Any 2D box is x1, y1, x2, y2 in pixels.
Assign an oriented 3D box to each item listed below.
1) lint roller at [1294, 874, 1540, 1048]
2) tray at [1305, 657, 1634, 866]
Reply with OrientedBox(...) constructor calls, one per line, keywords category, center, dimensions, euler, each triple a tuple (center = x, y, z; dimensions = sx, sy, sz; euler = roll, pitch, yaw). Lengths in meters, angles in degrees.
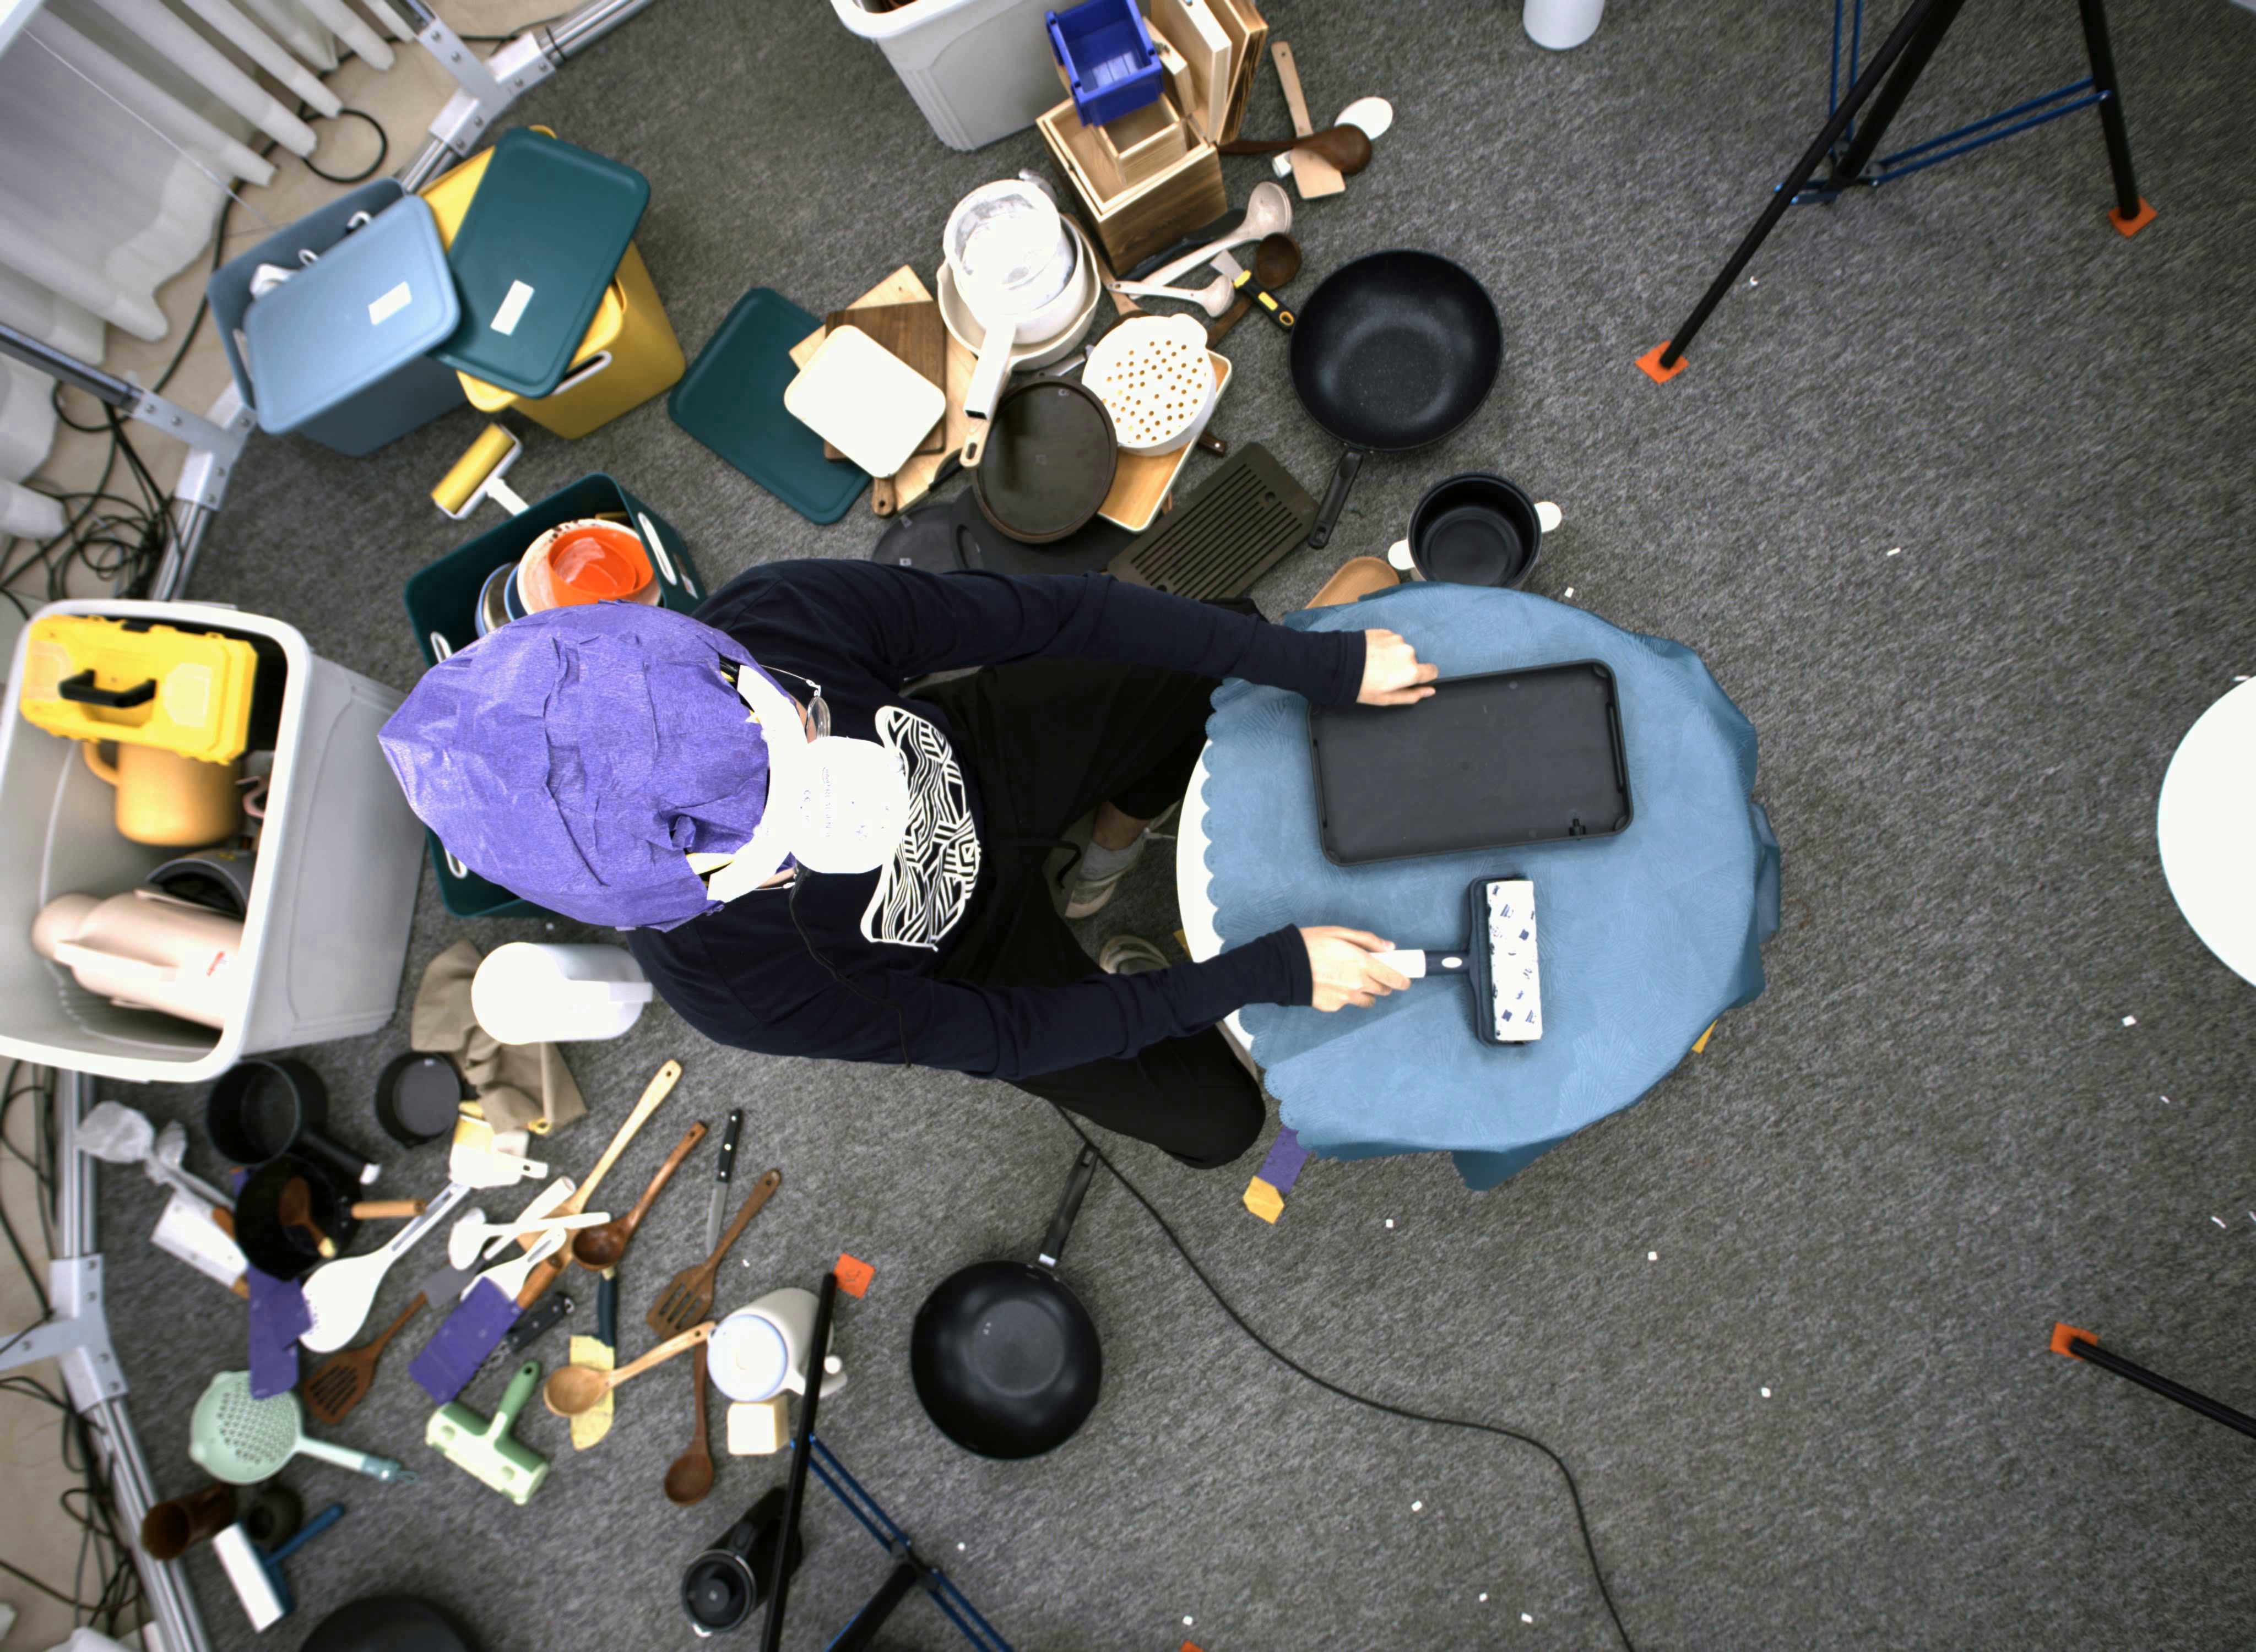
OrientedBox(category="lint roller", center=(0.294, 0.141, 1.415), dimensions=(0.248, 0.050, 0.175), euler=(-3, 87, 5))
OrientedBox(category="tray", center=(0.351, -0.067, 1.428), dimensions=(0.319, 0.037, 0.184), euler=(-7, 88, 11))
